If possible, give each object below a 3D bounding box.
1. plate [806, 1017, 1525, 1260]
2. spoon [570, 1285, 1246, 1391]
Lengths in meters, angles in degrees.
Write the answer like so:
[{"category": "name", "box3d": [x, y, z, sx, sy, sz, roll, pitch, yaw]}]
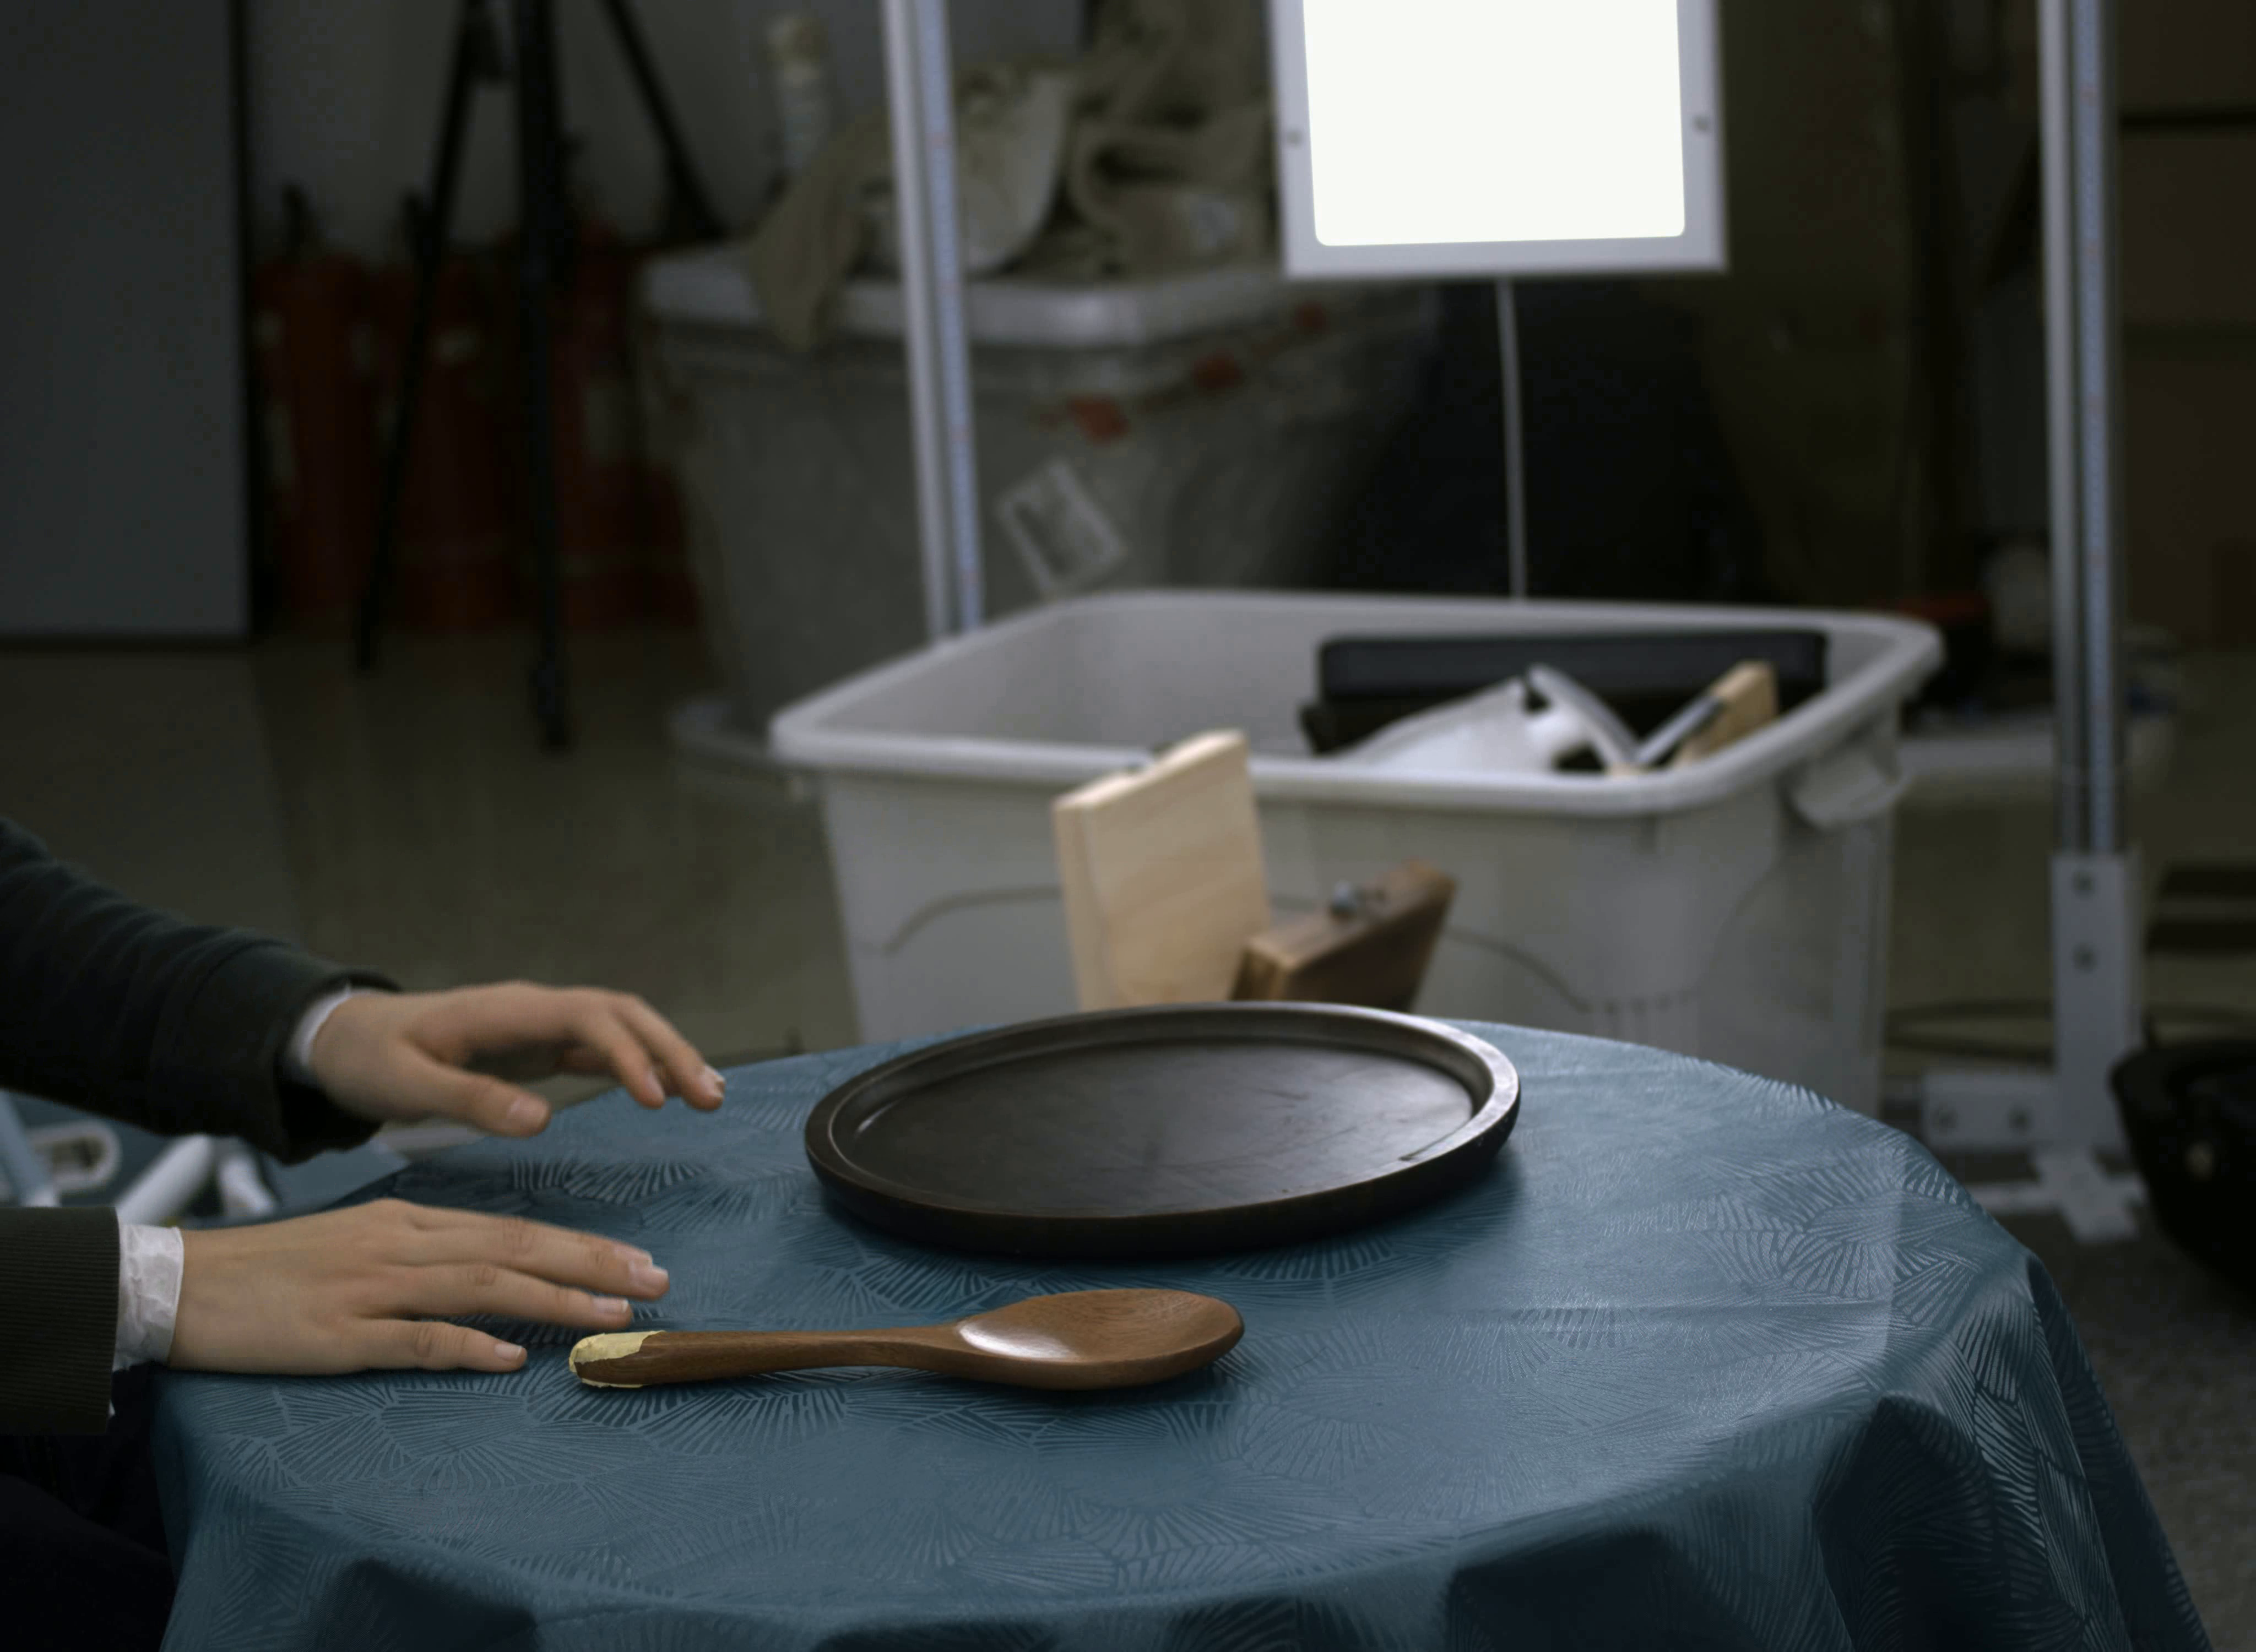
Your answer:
[{"category": "plate", "box3d": [0.013, 0.107, 1.928, 0.254, 0.029, 0.254, -4, 13, -1]}, {"category": "spoon", "box3d": [-0.069, 0.164, 1.732, 0.217, 0.017, 0.075, -2, 14, 10]}]
